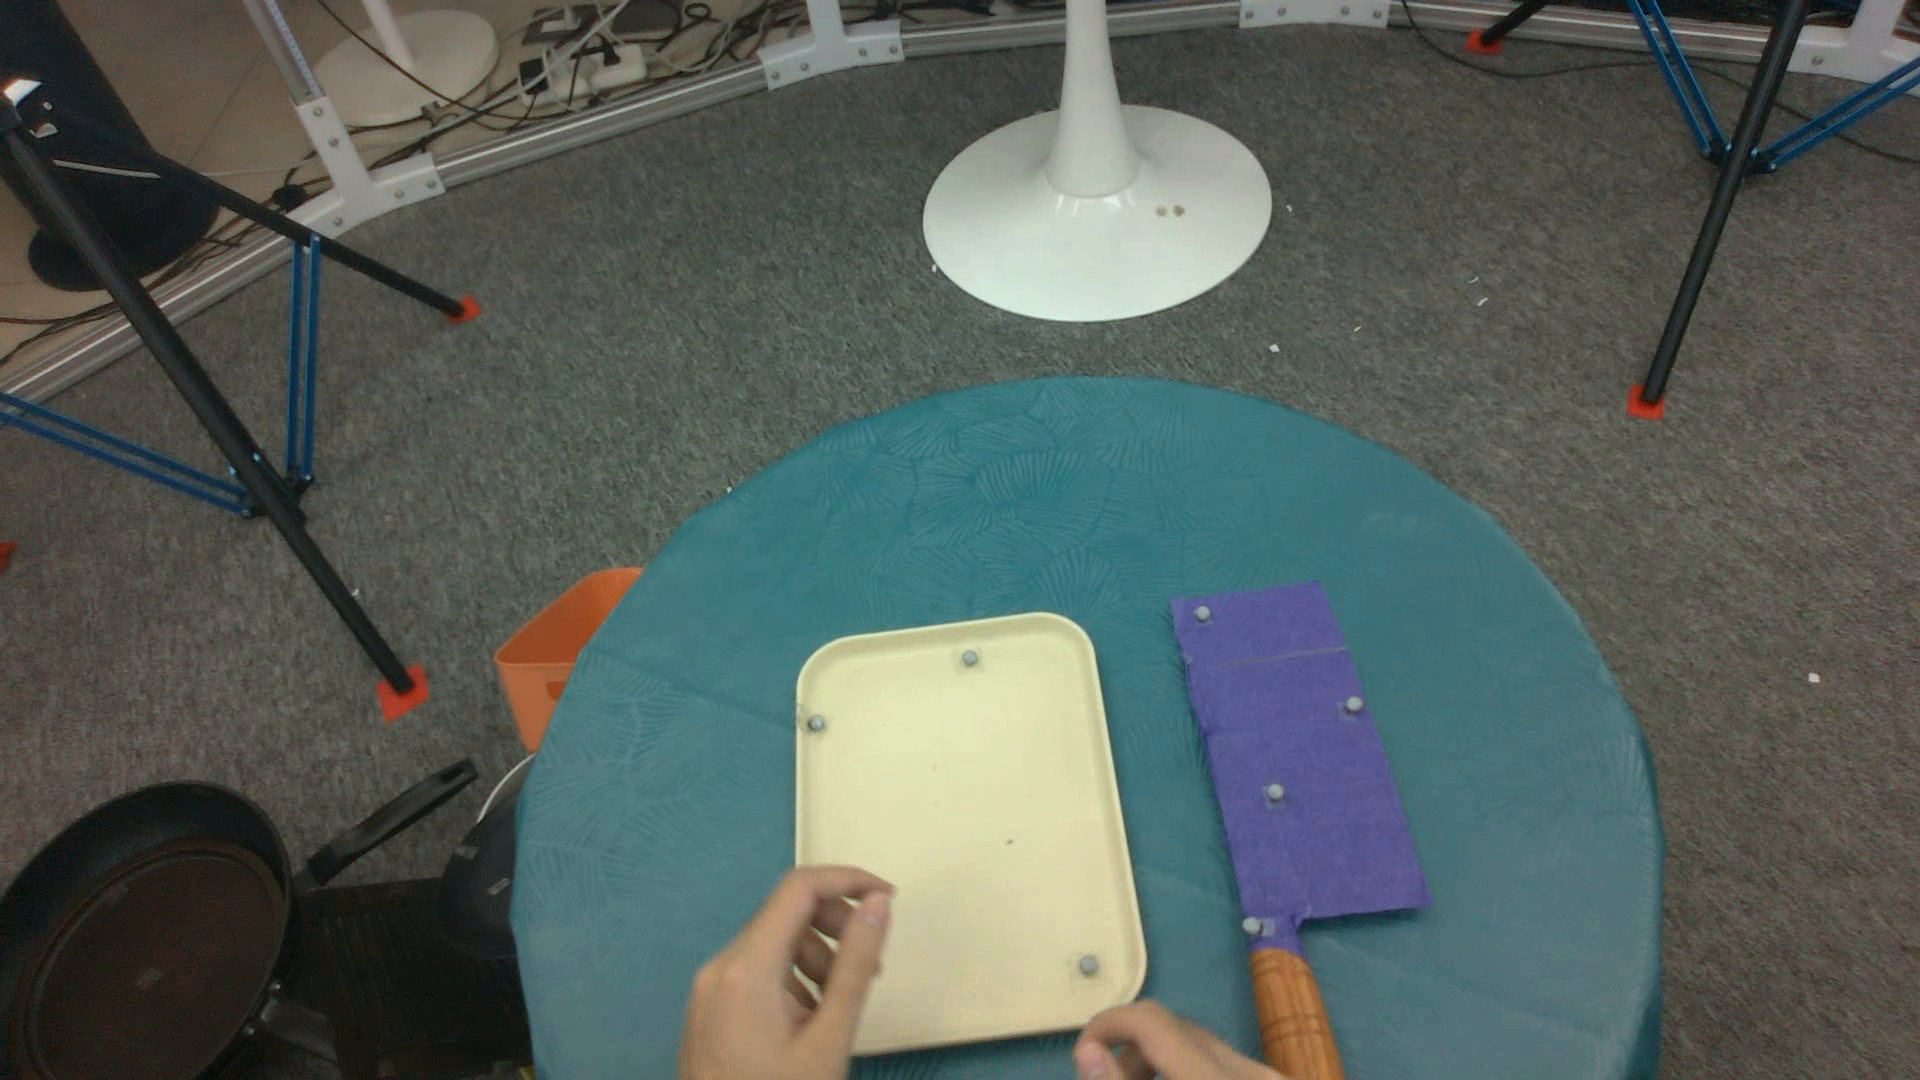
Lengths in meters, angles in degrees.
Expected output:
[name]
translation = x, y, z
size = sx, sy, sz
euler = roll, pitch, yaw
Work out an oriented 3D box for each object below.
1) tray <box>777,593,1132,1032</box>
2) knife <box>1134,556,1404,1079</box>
[tray]
translation = -0.010, 0.133, 0.721
size = 0.171, 0.017, 0.240
euler = -7, 50, 0
[knife]
translation = 0.168, 0.129, 0.699
size = 0.104, 0.032, 0.316
euler = -8, 50, 0
